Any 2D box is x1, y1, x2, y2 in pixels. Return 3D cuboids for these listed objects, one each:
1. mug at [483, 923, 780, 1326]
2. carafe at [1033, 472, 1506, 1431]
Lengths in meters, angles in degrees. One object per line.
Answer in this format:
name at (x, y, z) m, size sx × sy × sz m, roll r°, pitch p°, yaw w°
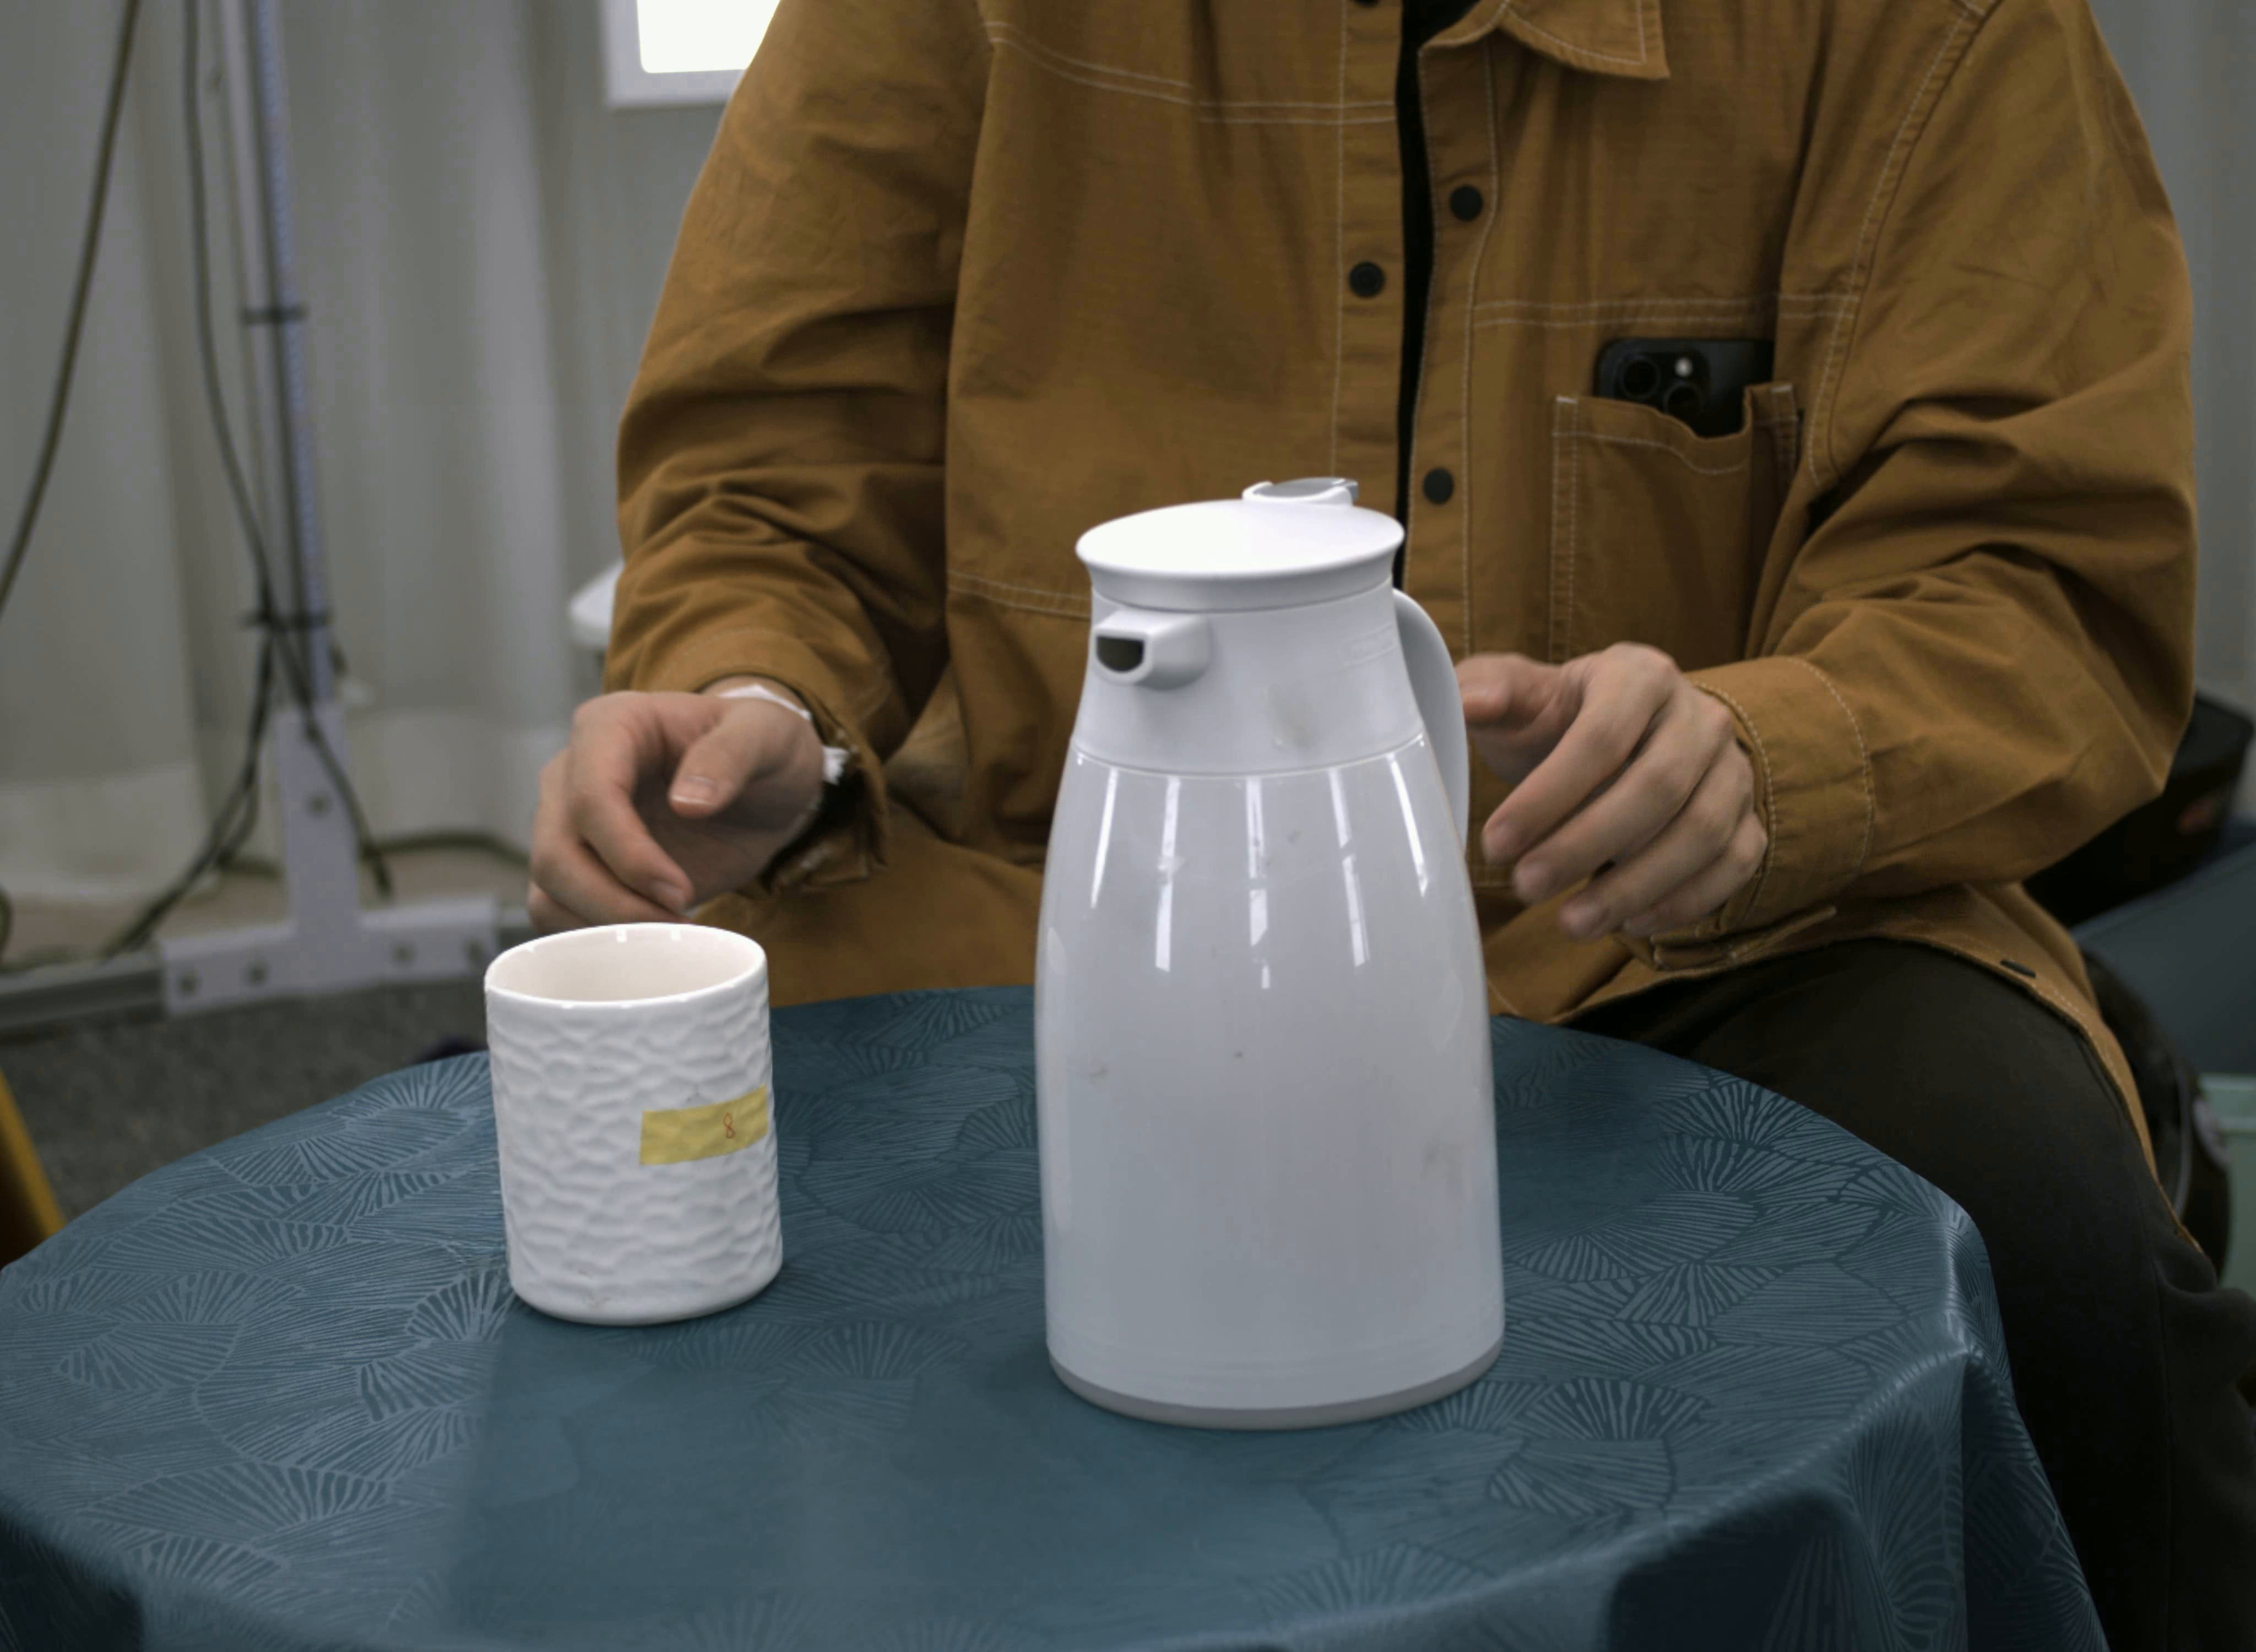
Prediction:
mug at (-0.153, 0.086, 1.656) m, size 0.084 × 0.101 × 0.119 m, roll -7°, pitch 14°, yaw -19°
carafe at (0.045, 0.027, 1.558) m, size 0.133 × 0.248 × 0.168 m, roll 5°, pitch 15°, yaw 32°
